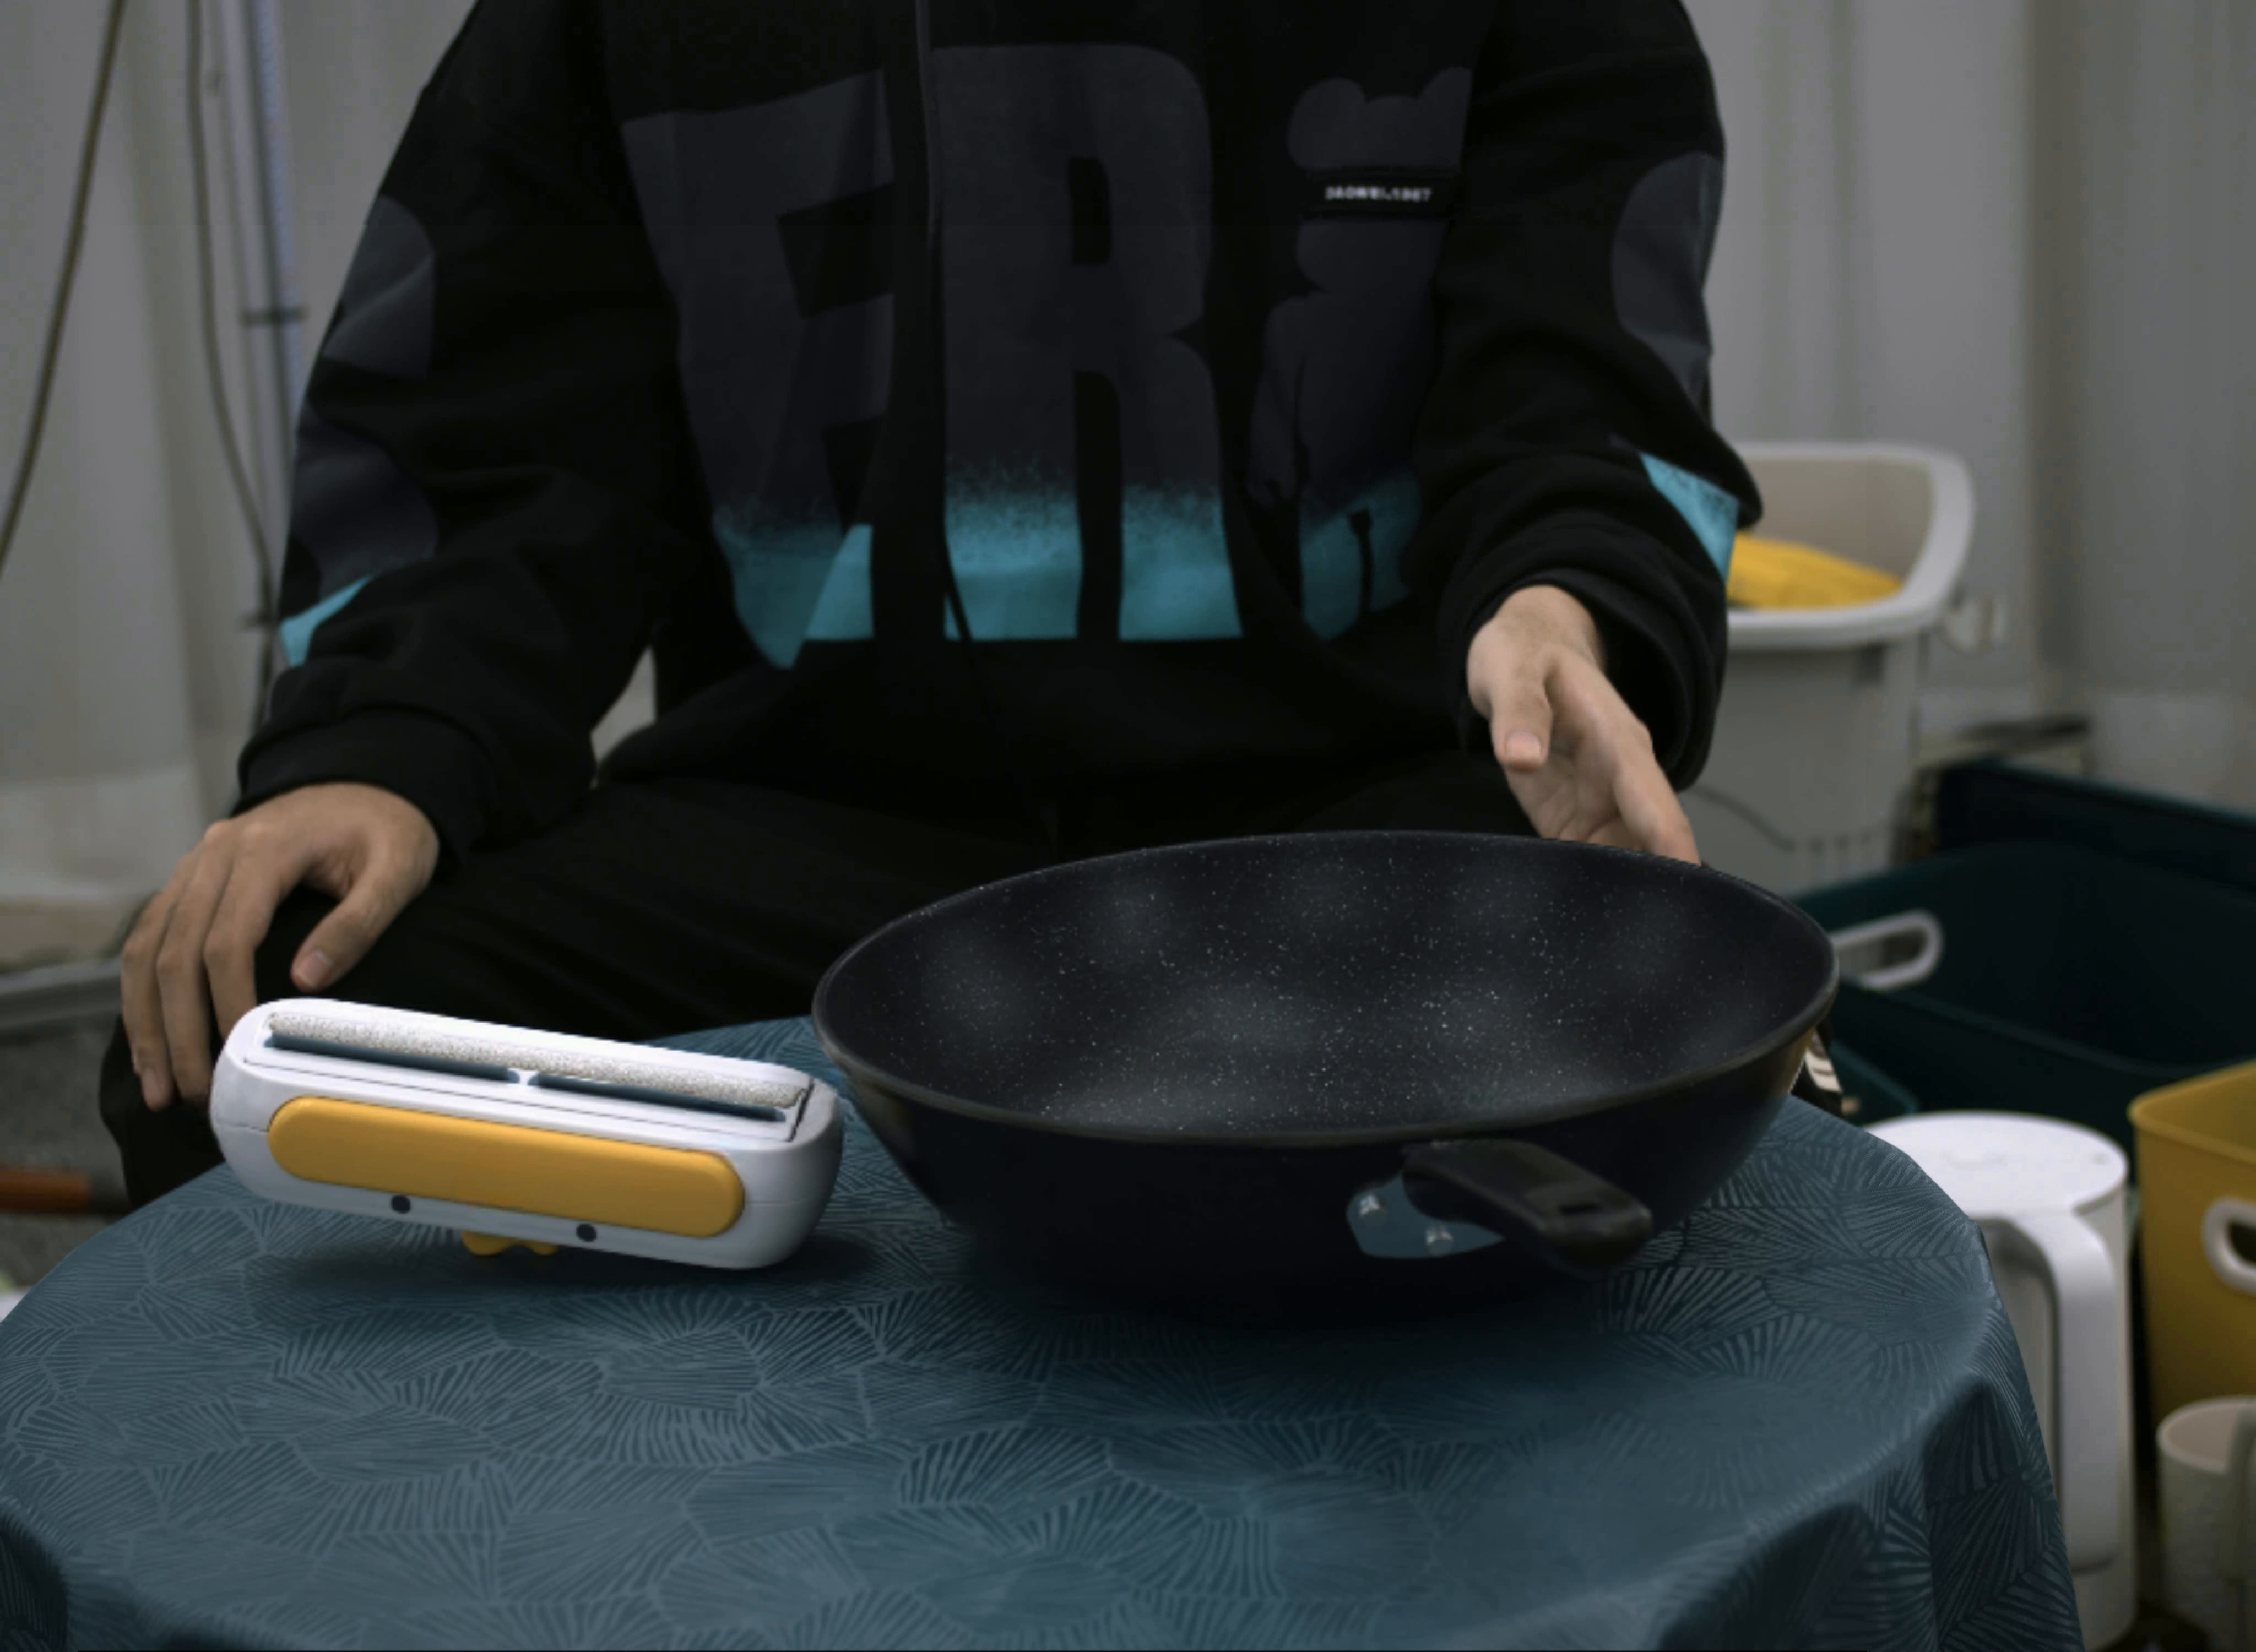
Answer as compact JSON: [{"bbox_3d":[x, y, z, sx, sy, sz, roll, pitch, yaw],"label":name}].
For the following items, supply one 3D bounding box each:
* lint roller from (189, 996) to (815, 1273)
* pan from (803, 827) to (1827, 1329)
[{"bbox_3d":[-0.182,0.086,1.728,0.192,0.074,0.193,5,14,8],"label":"lint roller"},{"bbox_3d":[0.074,0.093,1.576,0.309,0.111,0.480,-8,15,-9],"label":"pan"}]
